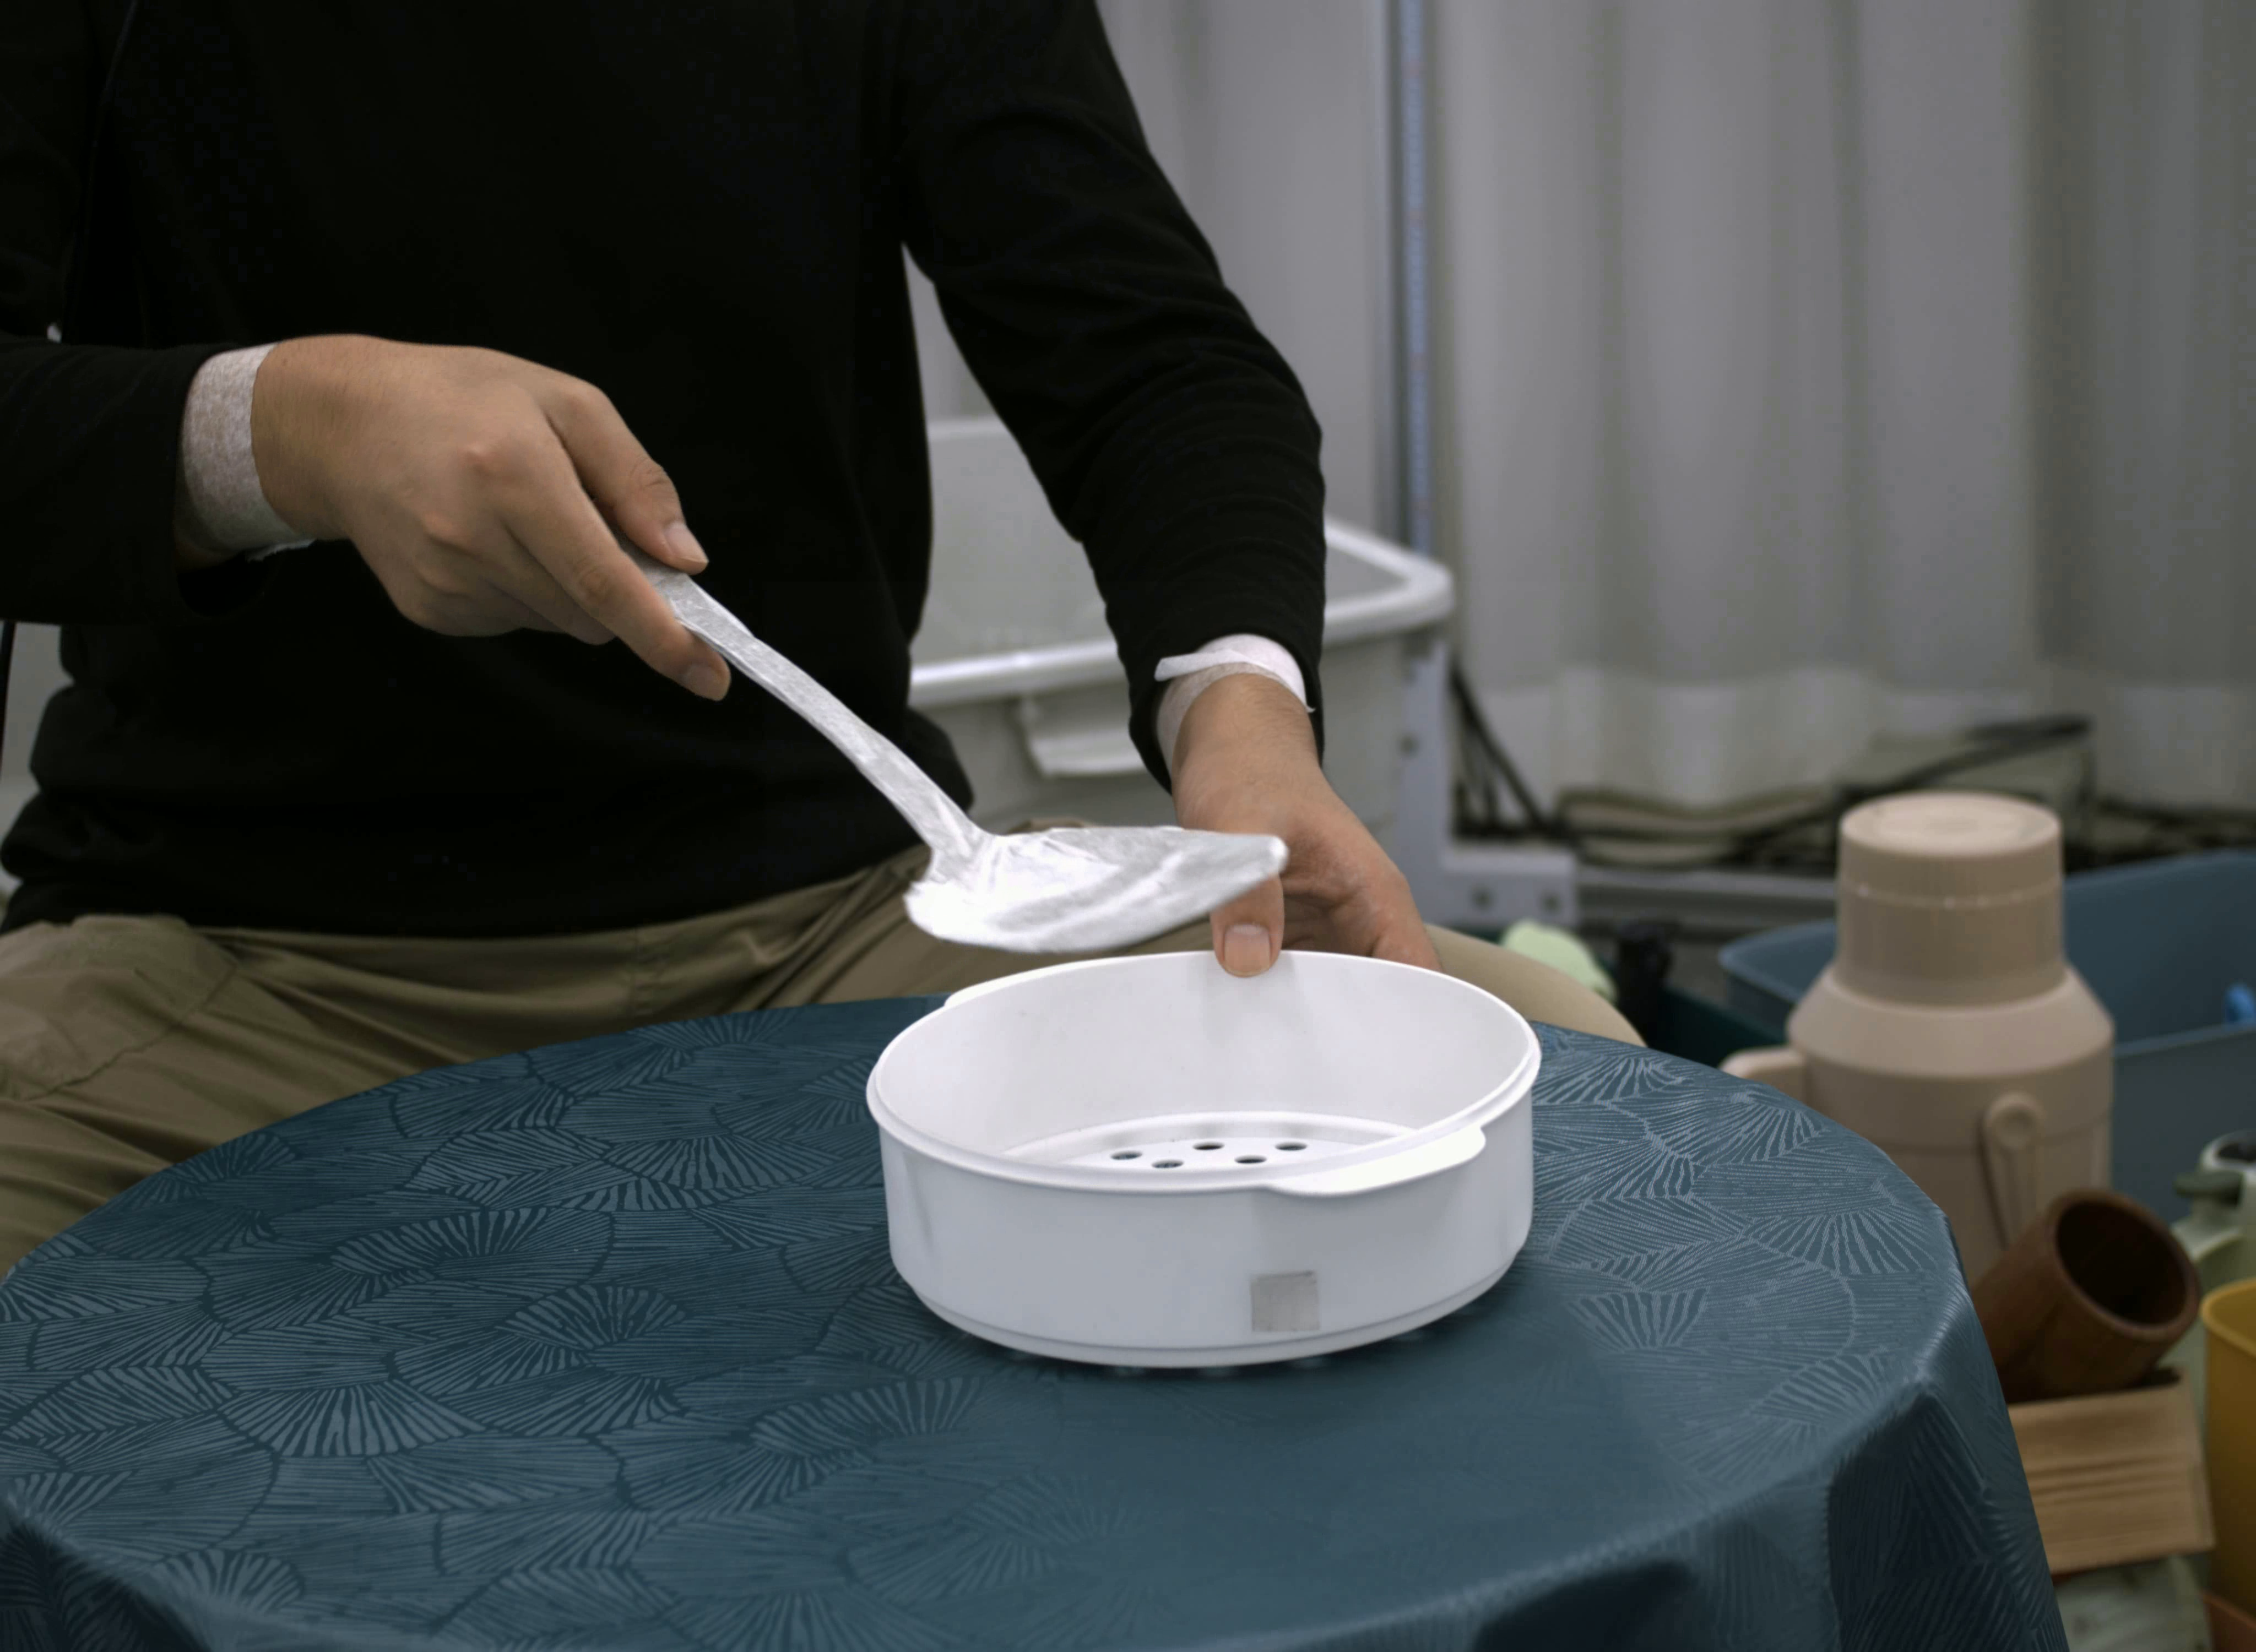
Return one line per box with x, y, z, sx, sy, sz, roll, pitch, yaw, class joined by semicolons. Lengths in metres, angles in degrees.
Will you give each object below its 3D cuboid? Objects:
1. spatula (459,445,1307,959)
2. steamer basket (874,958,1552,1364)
-0.095;-0.046;1.621;0.098;0.044;0.369;-24;44;-34;spatula
0.026;0.099;1.624;0.201;0.069;0.232;-11;18;-27;steamer basket
